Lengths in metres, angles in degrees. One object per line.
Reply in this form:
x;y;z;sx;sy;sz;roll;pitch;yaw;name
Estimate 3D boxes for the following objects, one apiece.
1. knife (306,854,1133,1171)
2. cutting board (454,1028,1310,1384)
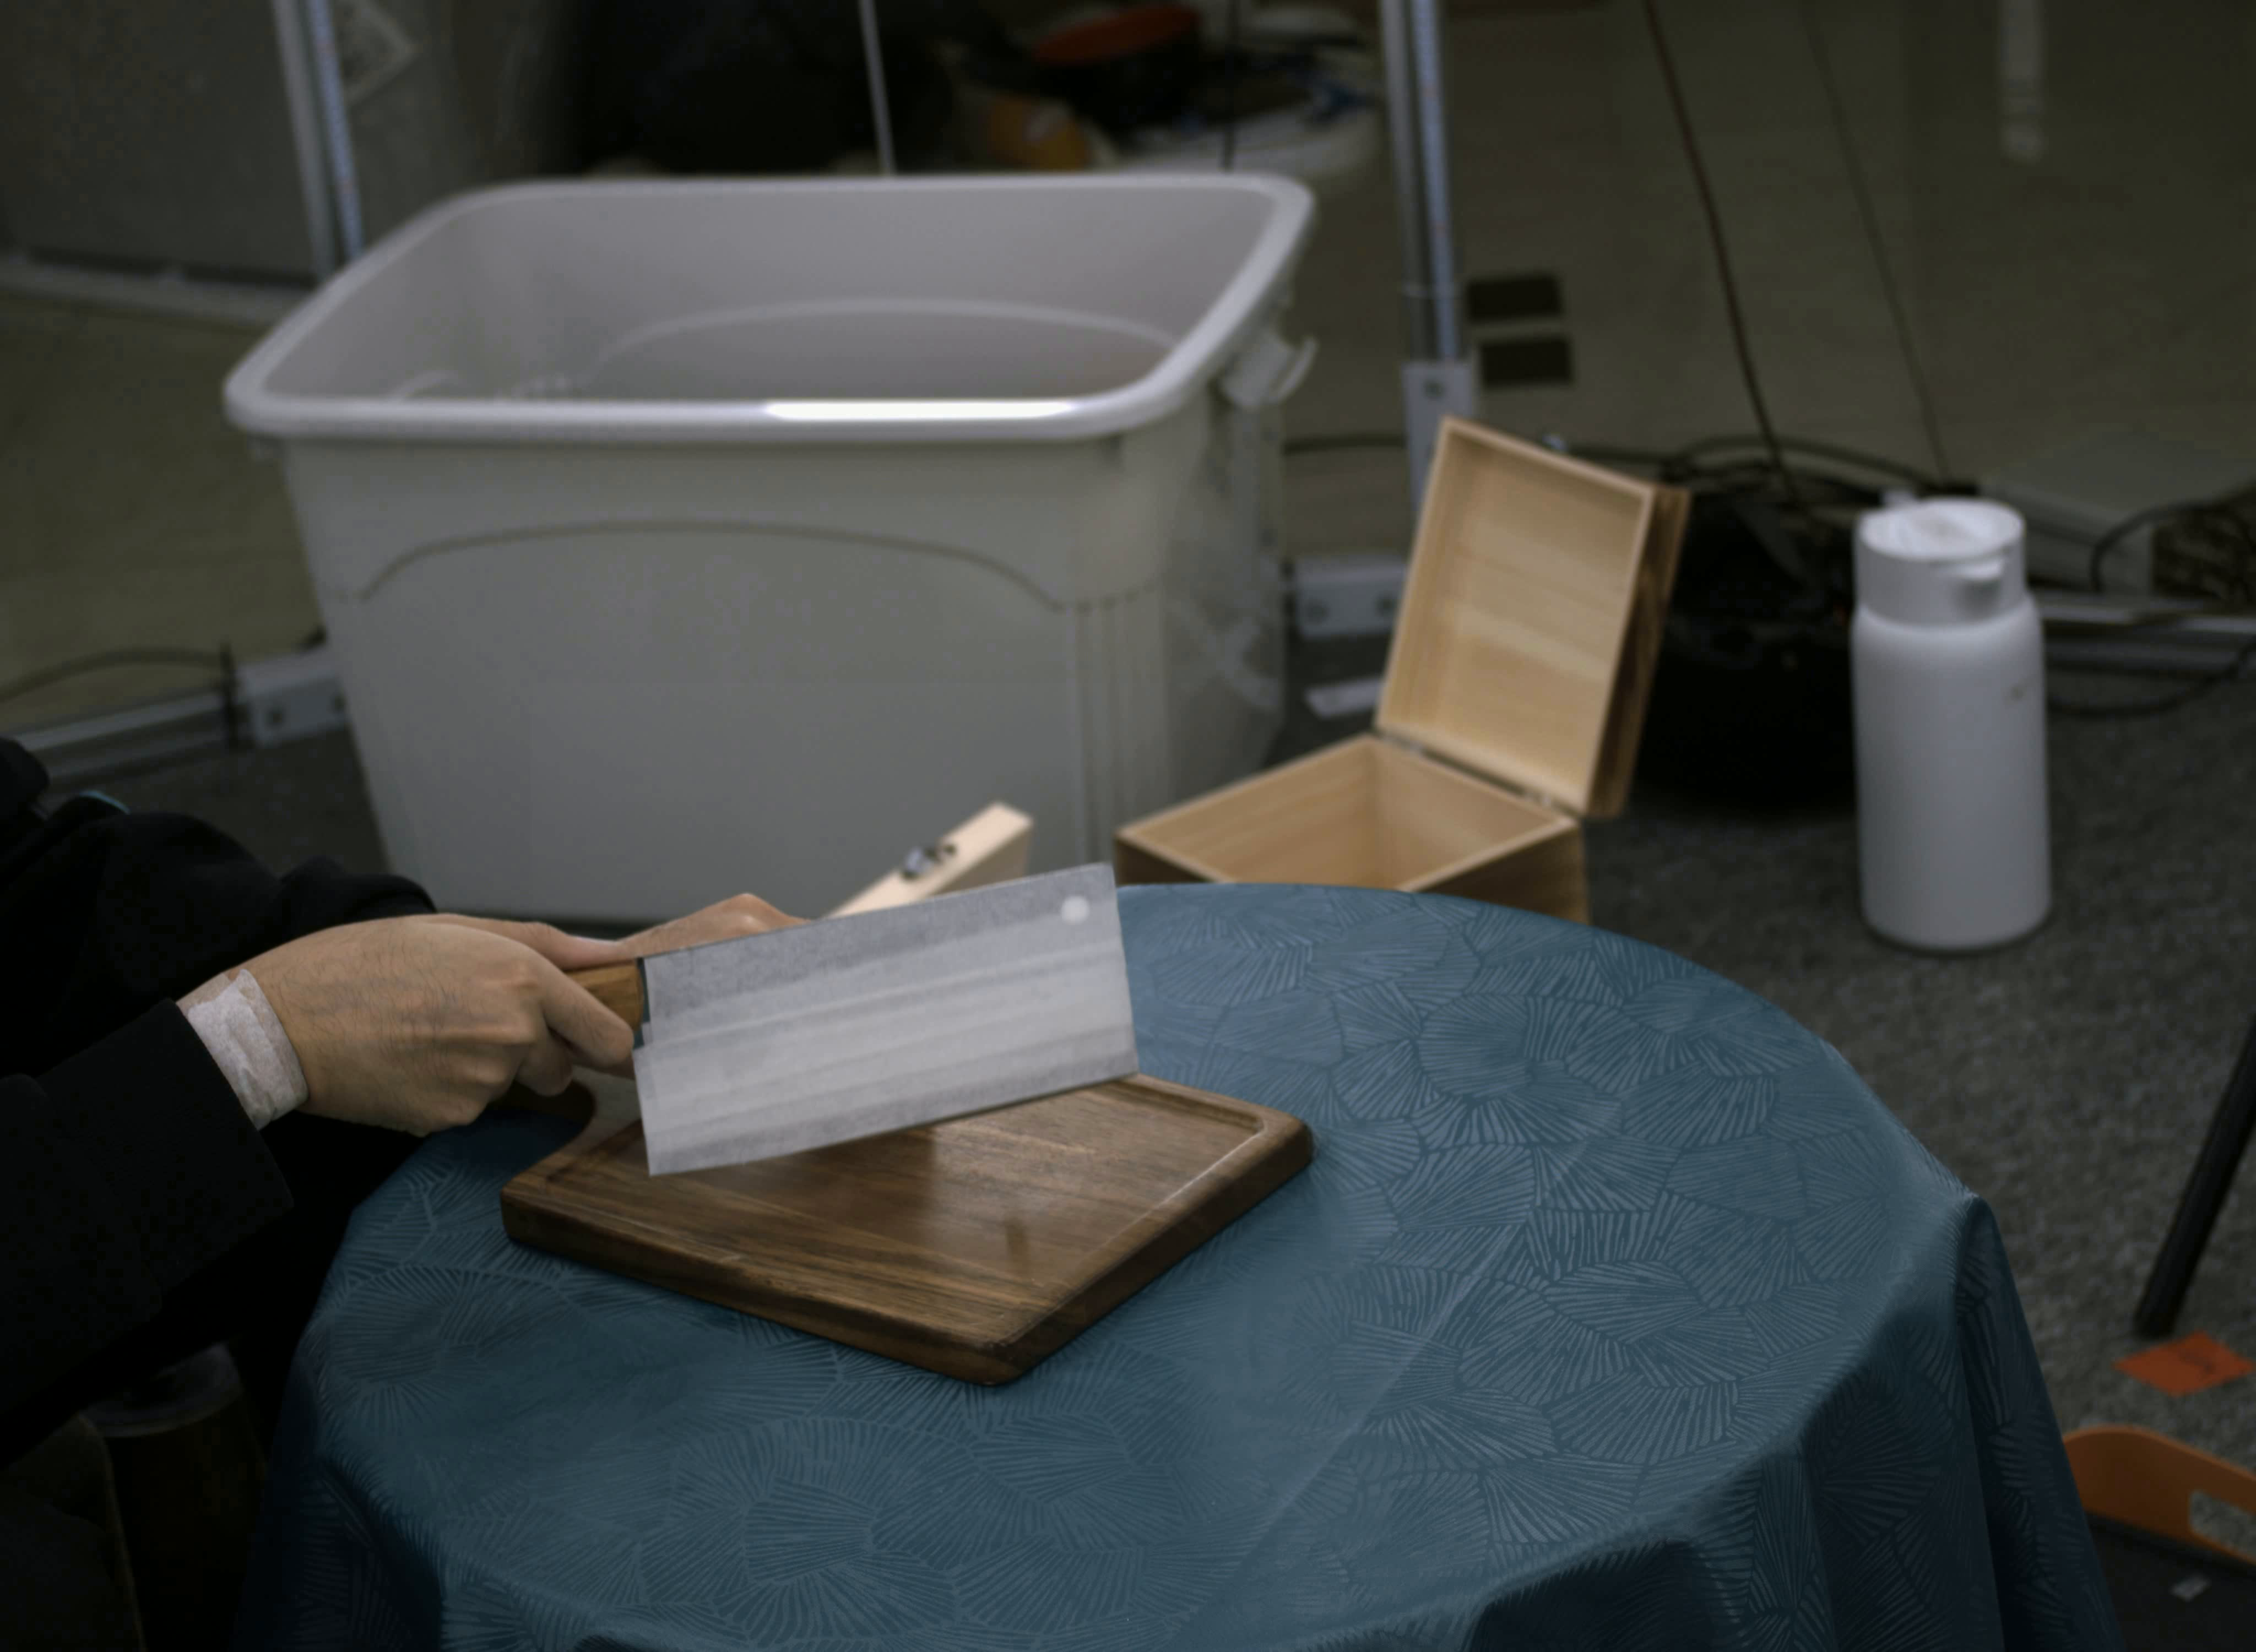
-0.147;0.080;2.100;0.305;0.094;0.021;-12;25;-9;knife
-0.124;0.125;2.183;0.350;0.023;0.199;13;31;35;cutting board
